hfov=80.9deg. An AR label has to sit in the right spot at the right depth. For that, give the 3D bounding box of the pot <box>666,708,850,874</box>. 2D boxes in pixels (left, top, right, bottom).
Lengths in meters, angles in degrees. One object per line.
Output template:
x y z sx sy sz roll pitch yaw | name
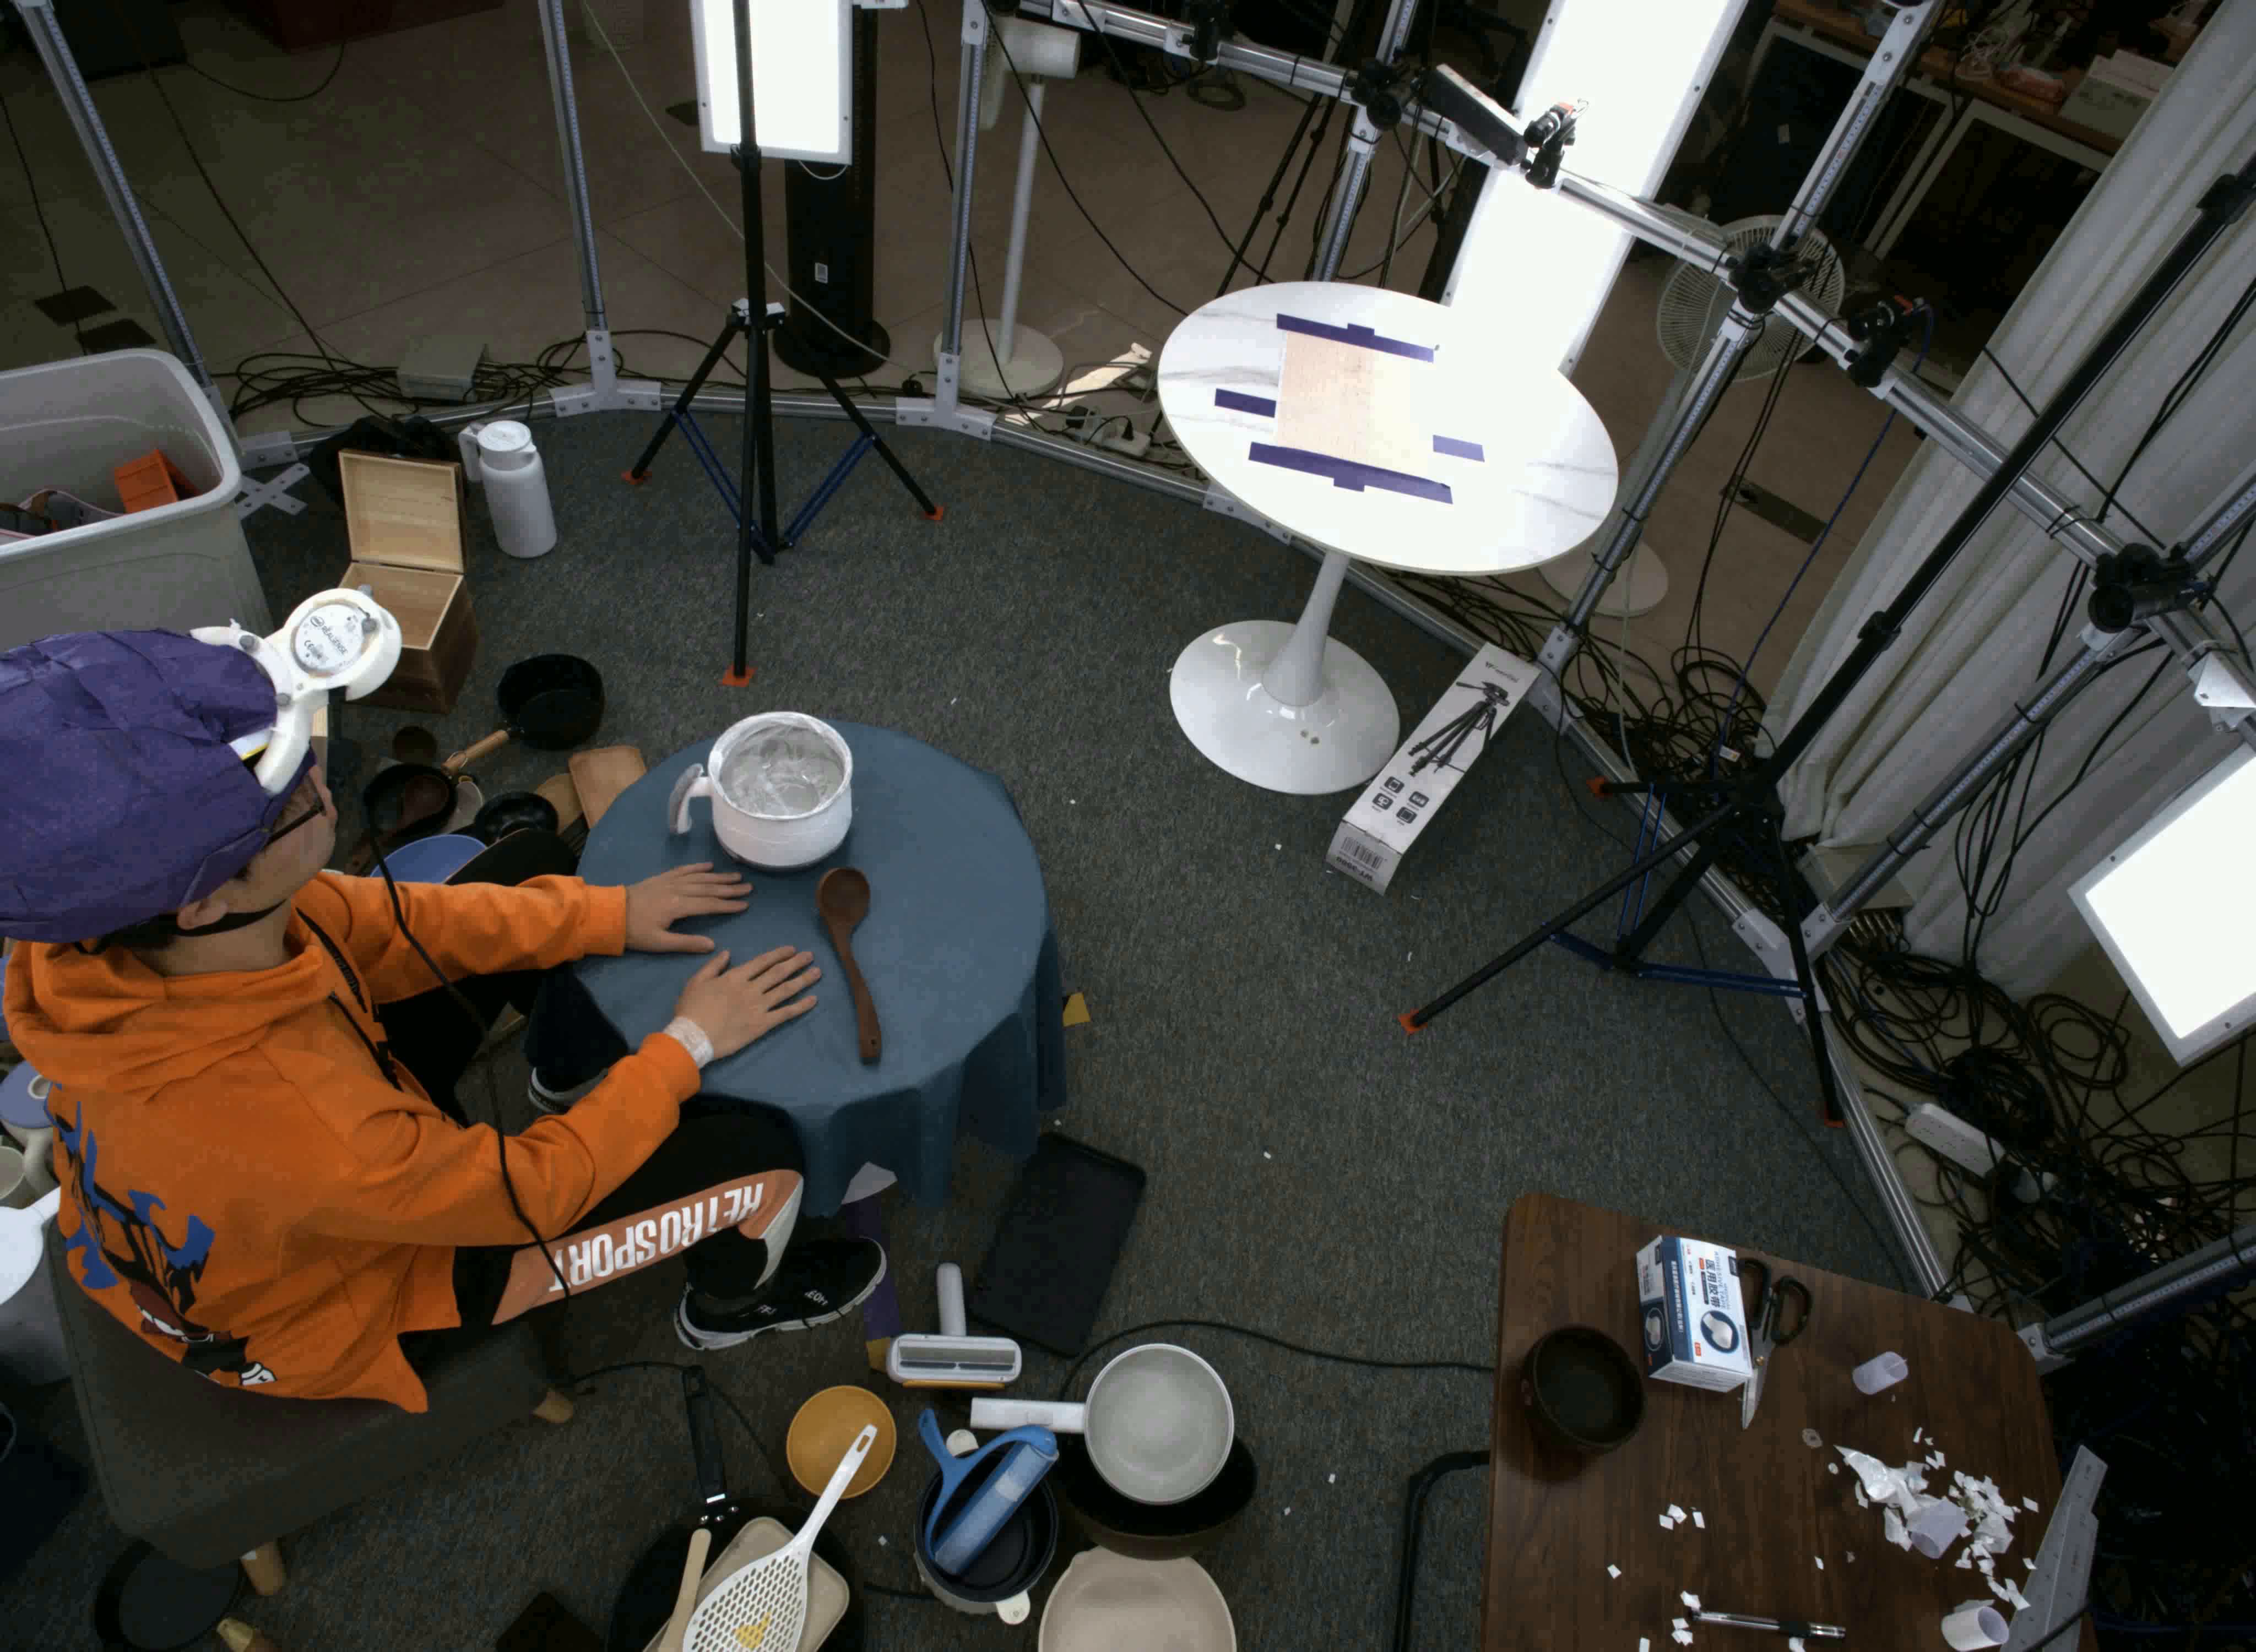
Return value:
-0.470 -0.038 1.641 0.234 0.139 0.174 -6 54 -18 | pot

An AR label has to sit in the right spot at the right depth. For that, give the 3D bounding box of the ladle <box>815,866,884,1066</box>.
-0.327 0.163 1.579 0.078 0.065 0.254 8 47 -41 | ladle
